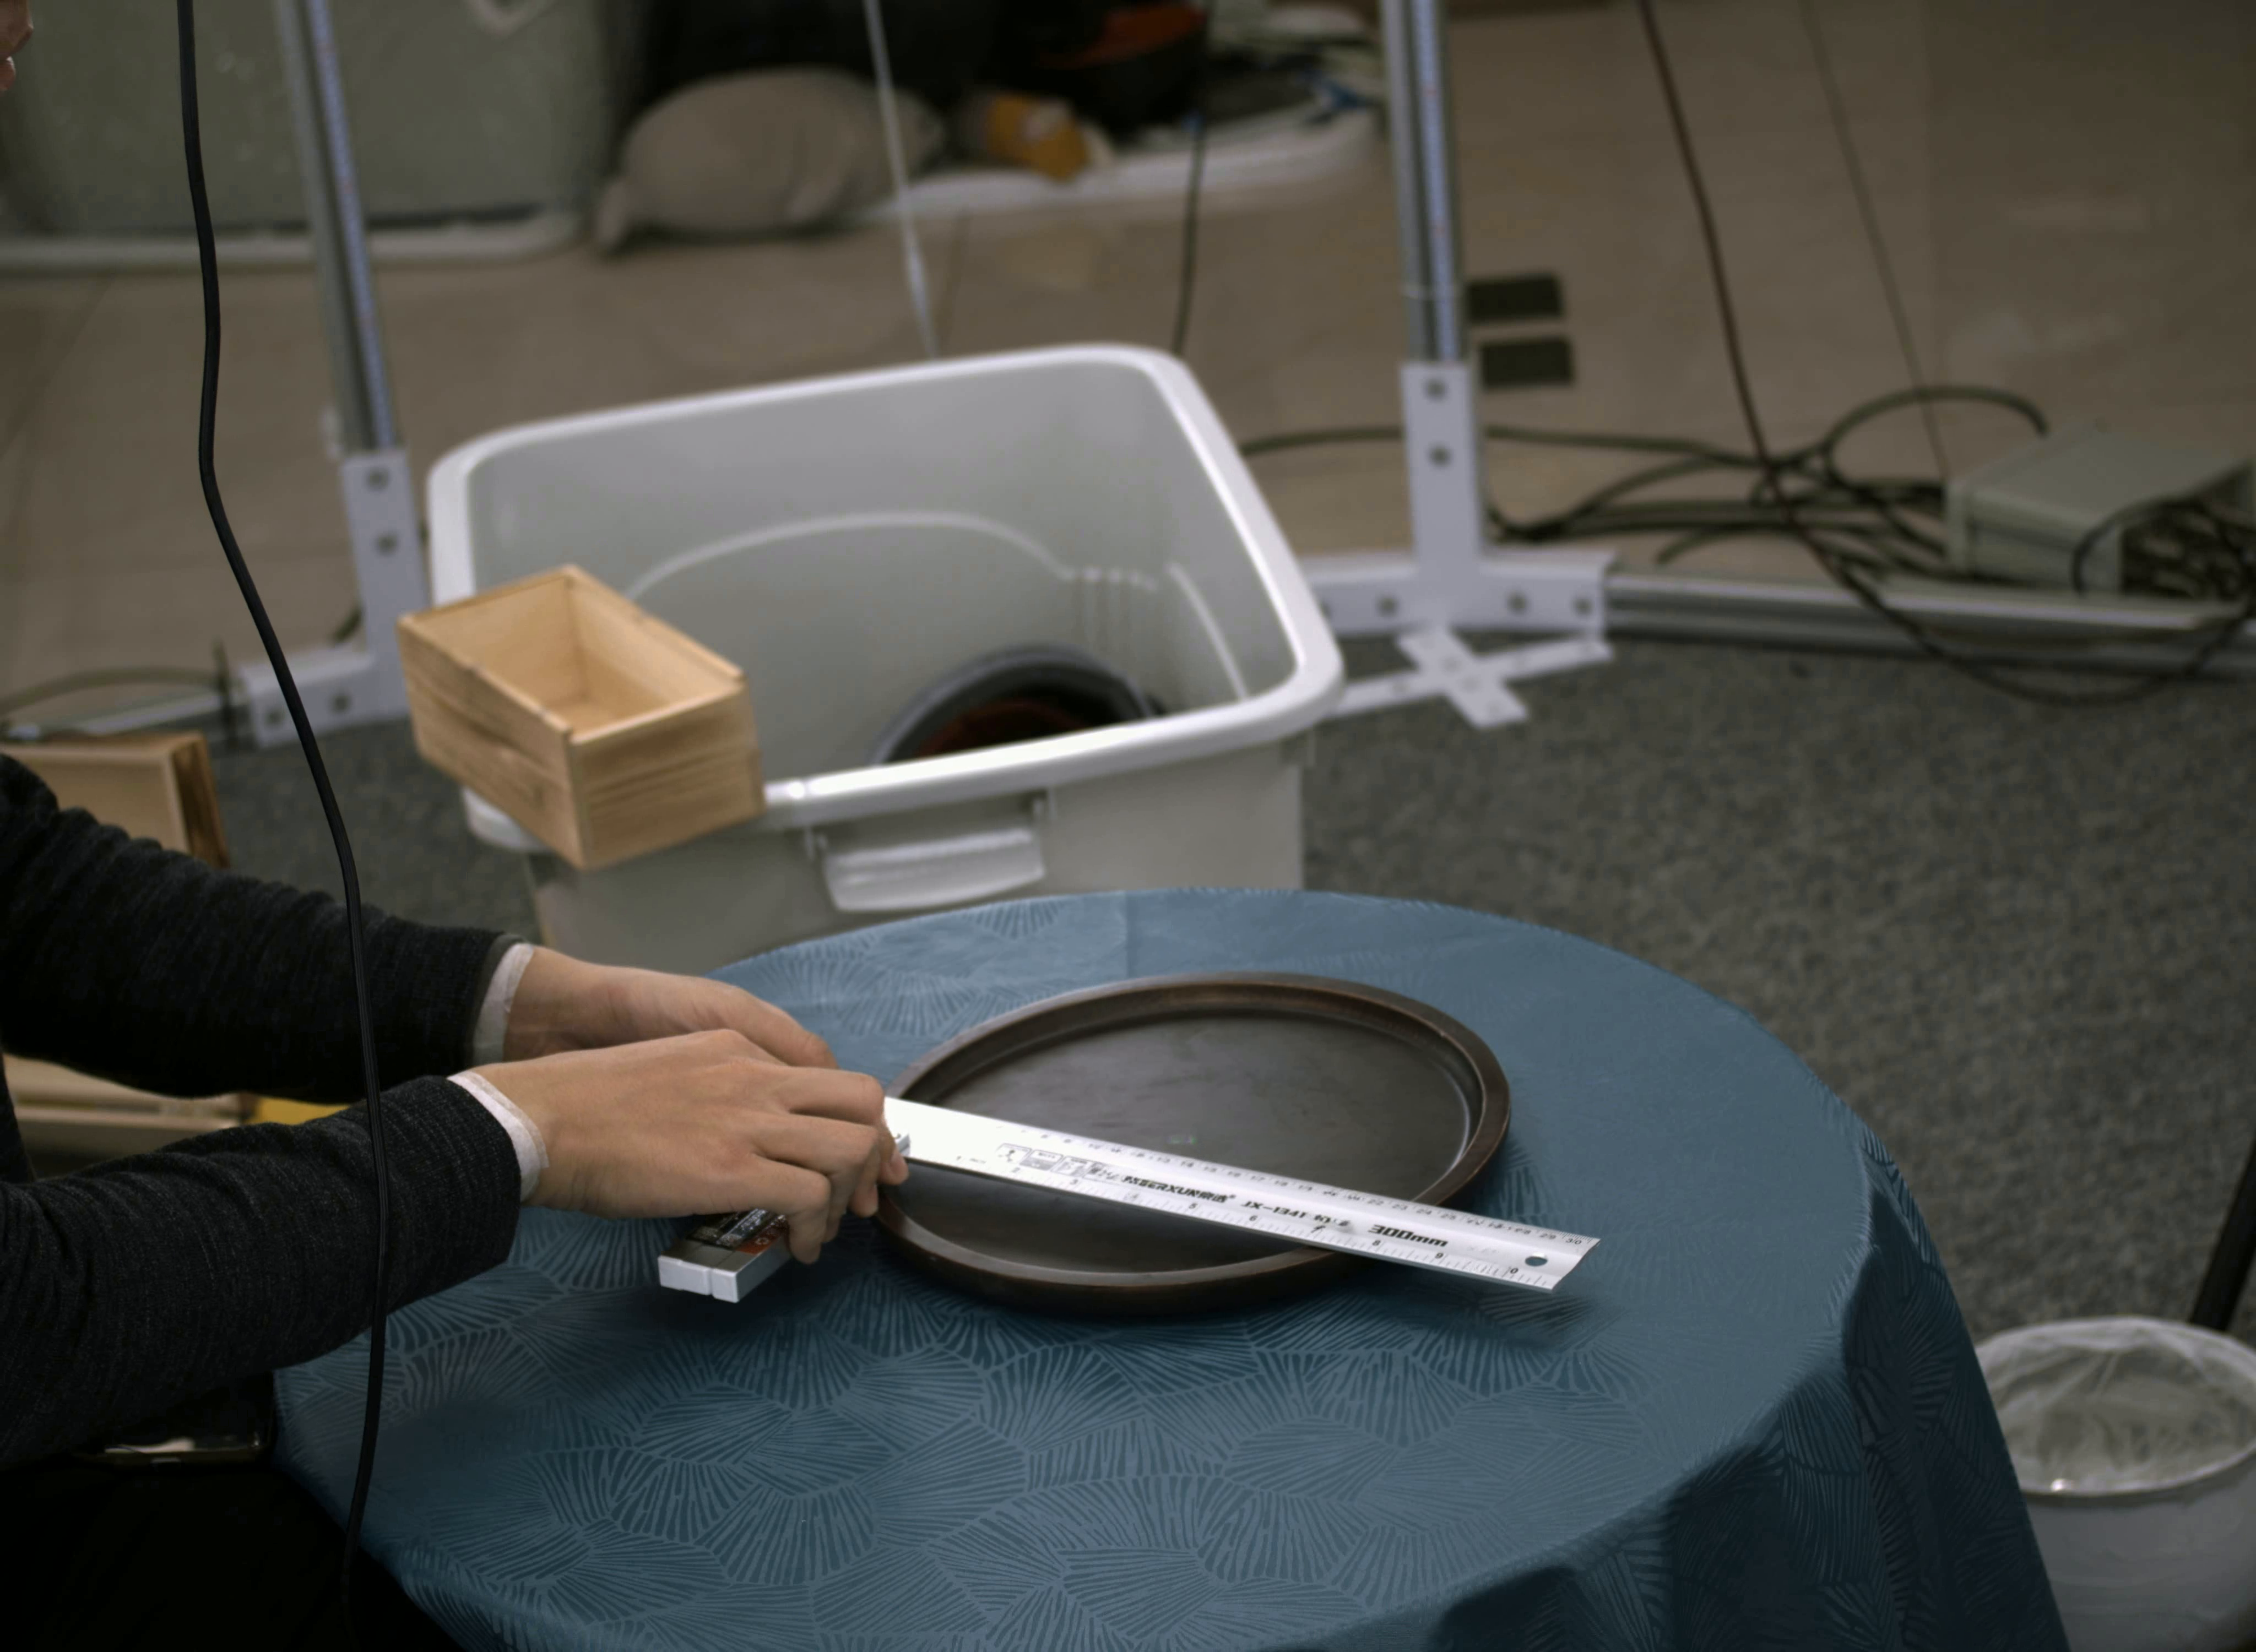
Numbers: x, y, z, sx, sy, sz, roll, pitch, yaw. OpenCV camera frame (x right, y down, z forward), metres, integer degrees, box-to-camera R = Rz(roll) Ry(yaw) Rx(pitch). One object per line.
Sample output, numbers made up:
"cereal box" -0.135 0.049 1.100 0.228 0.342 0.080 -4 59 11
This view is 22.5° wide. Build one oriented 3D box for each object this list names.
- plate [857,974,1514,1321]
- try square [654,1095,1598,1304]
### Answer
"plate" 0.021 0.120 2.155 0.254 0.029 0.251 -4 25 2
"try square" -0.003 0.156 2.054 0.311 0.016 0.150 9 29 29
